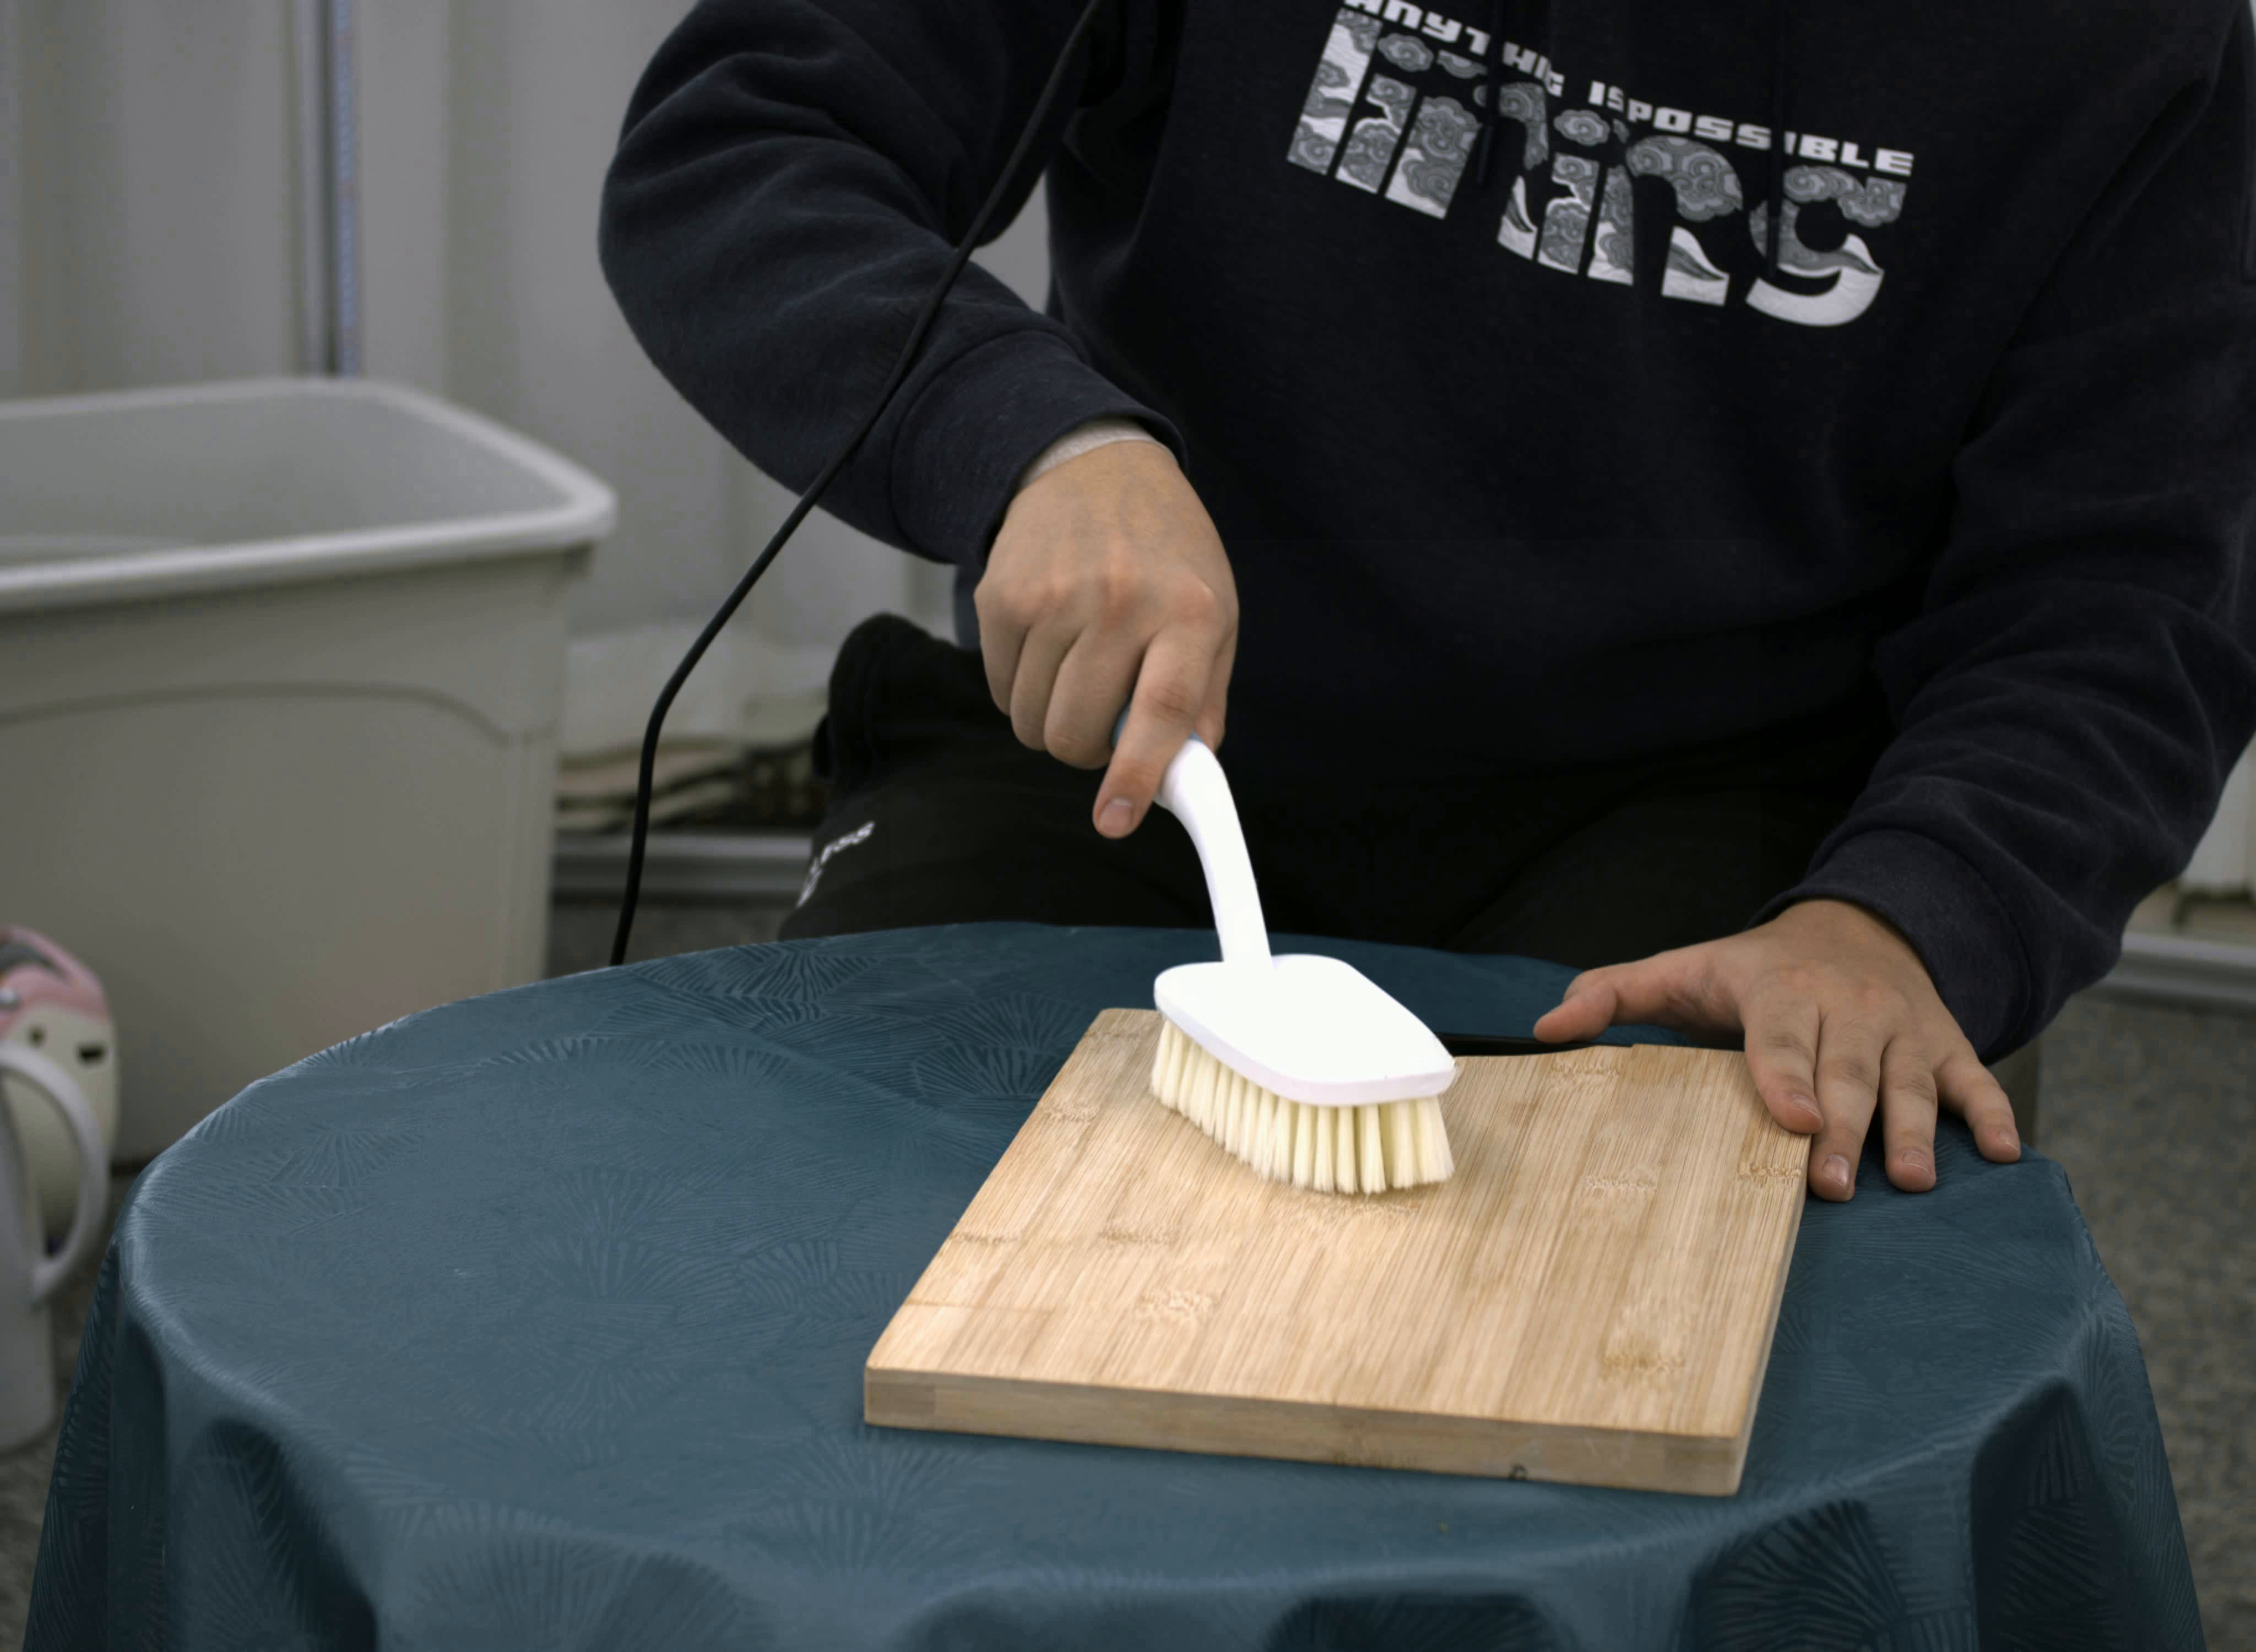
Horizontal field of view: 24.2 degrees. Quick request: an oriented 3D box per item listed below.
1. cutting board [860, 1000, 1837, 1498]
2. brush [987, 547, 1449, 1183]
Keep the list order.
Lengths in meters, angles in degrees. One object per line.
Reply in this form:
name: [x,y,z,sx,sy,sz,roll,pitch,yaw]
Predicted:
cutting board: [0.078,0.118,1.579,0.249,0.024,0.348,4,16,9]
brush: [0.024,0.023,1.695,0.084,0.084,0.321,28,16,-38]
